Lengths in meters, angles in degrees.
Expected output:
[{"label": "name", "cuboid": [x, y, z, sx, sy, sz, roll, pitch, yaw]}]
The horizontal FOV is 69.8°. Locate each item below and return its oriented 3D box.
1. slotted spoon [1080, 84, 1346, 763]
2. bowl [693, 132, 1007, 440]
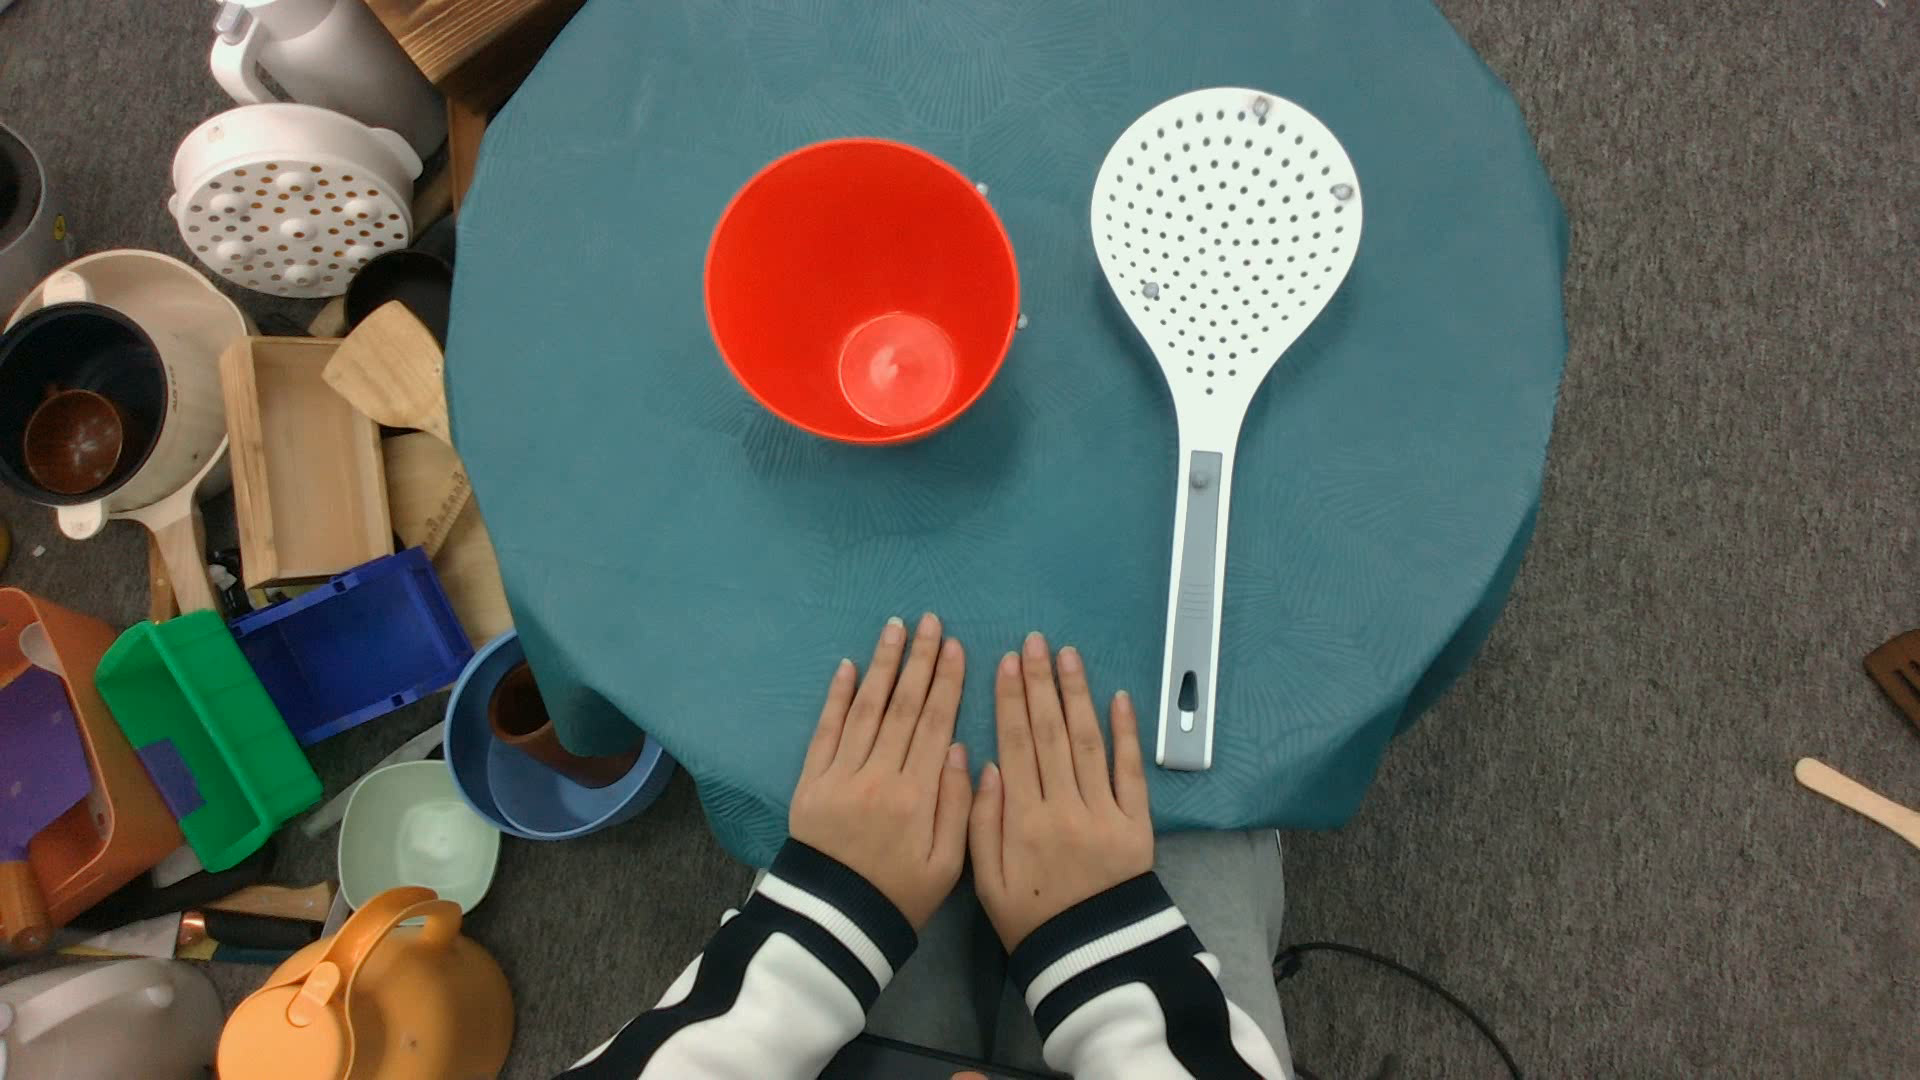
[{"label": "slotted spoon", "cuboid": [0.119, -0.064, 0.698, 0.136, 0.045, 0.350, 5, 76, 5]}, {"label": "bowl", "cuboid": [-0.050, -0.113, 0.688, 0.148, 0.104, 0.148, 0, 74, 0]}]
